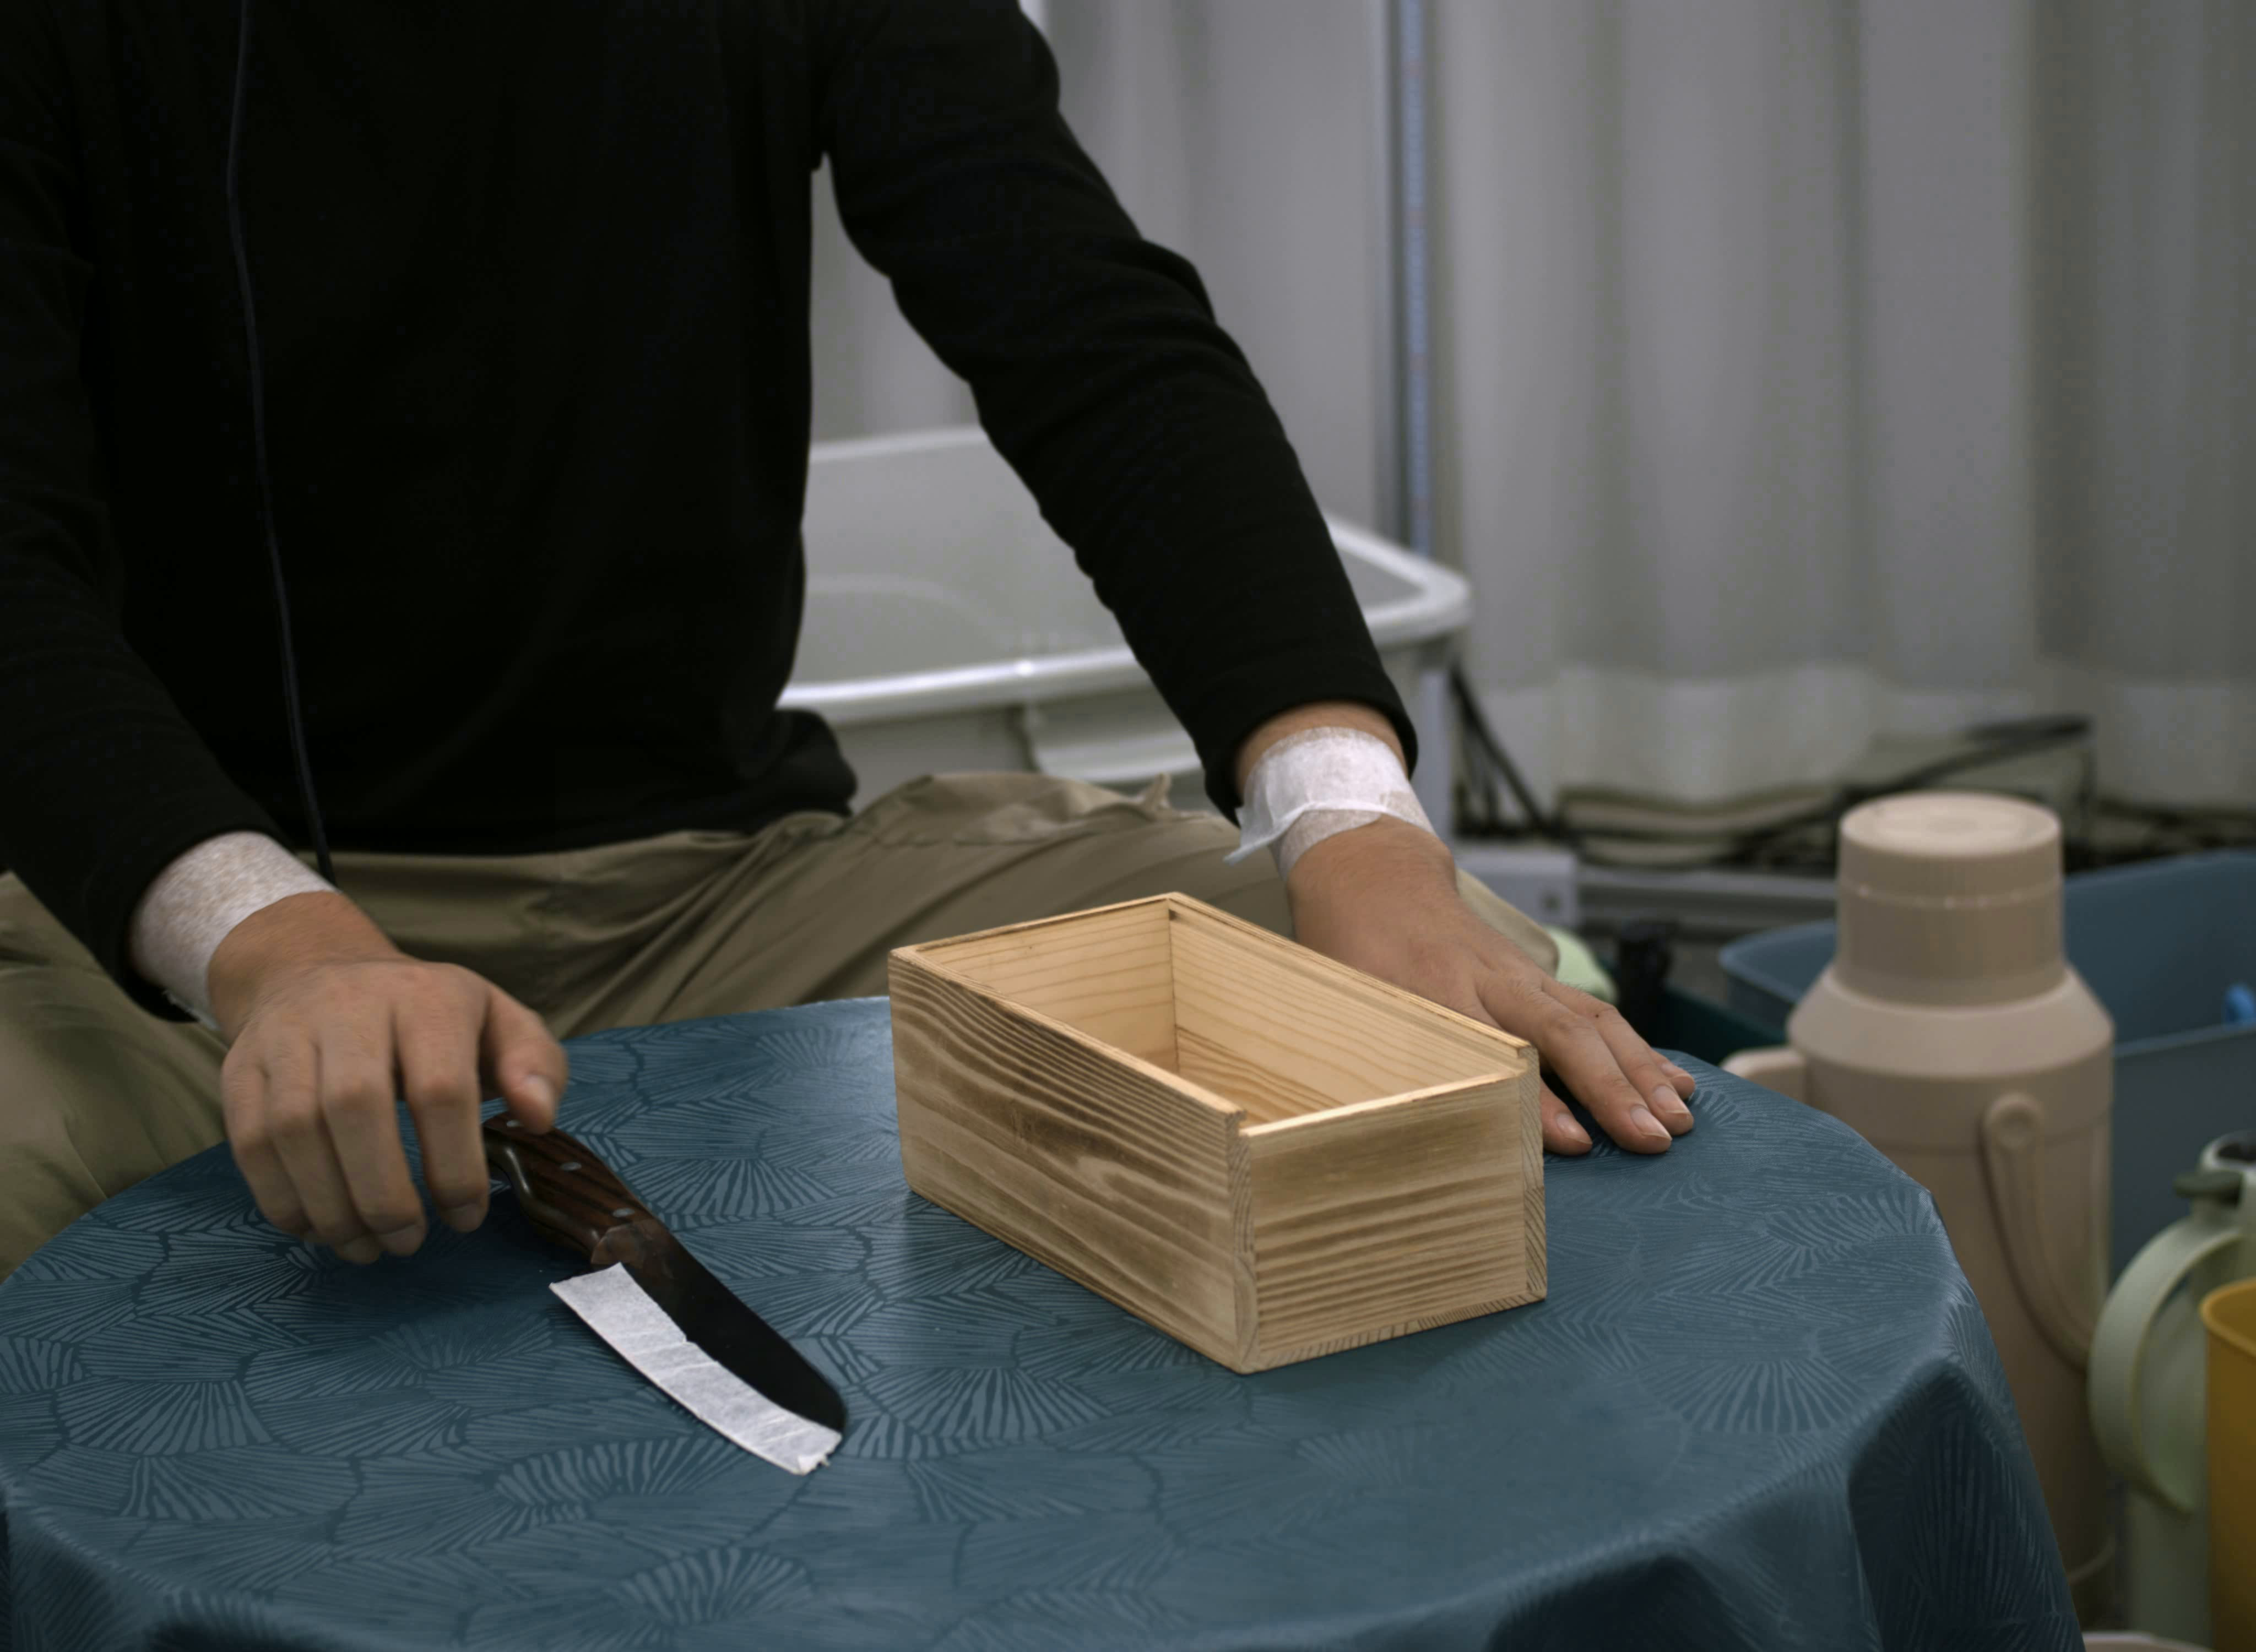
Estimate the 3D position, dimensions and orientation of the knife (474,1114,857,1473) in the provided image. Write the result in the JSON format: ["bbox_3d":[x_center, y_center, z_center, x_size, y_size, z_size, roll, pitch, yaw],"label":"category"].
[{"bbox_3d":[-0.142,0.139,1.624,0.050,0.020,0.292,-14,20,-20],"label":"knife"}]

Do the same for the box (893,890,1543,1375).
[{"bbox_3d":[0.024,0.088,1.655,0.107,0.080,0.213,-10,17,-28],"label":"box"}]
